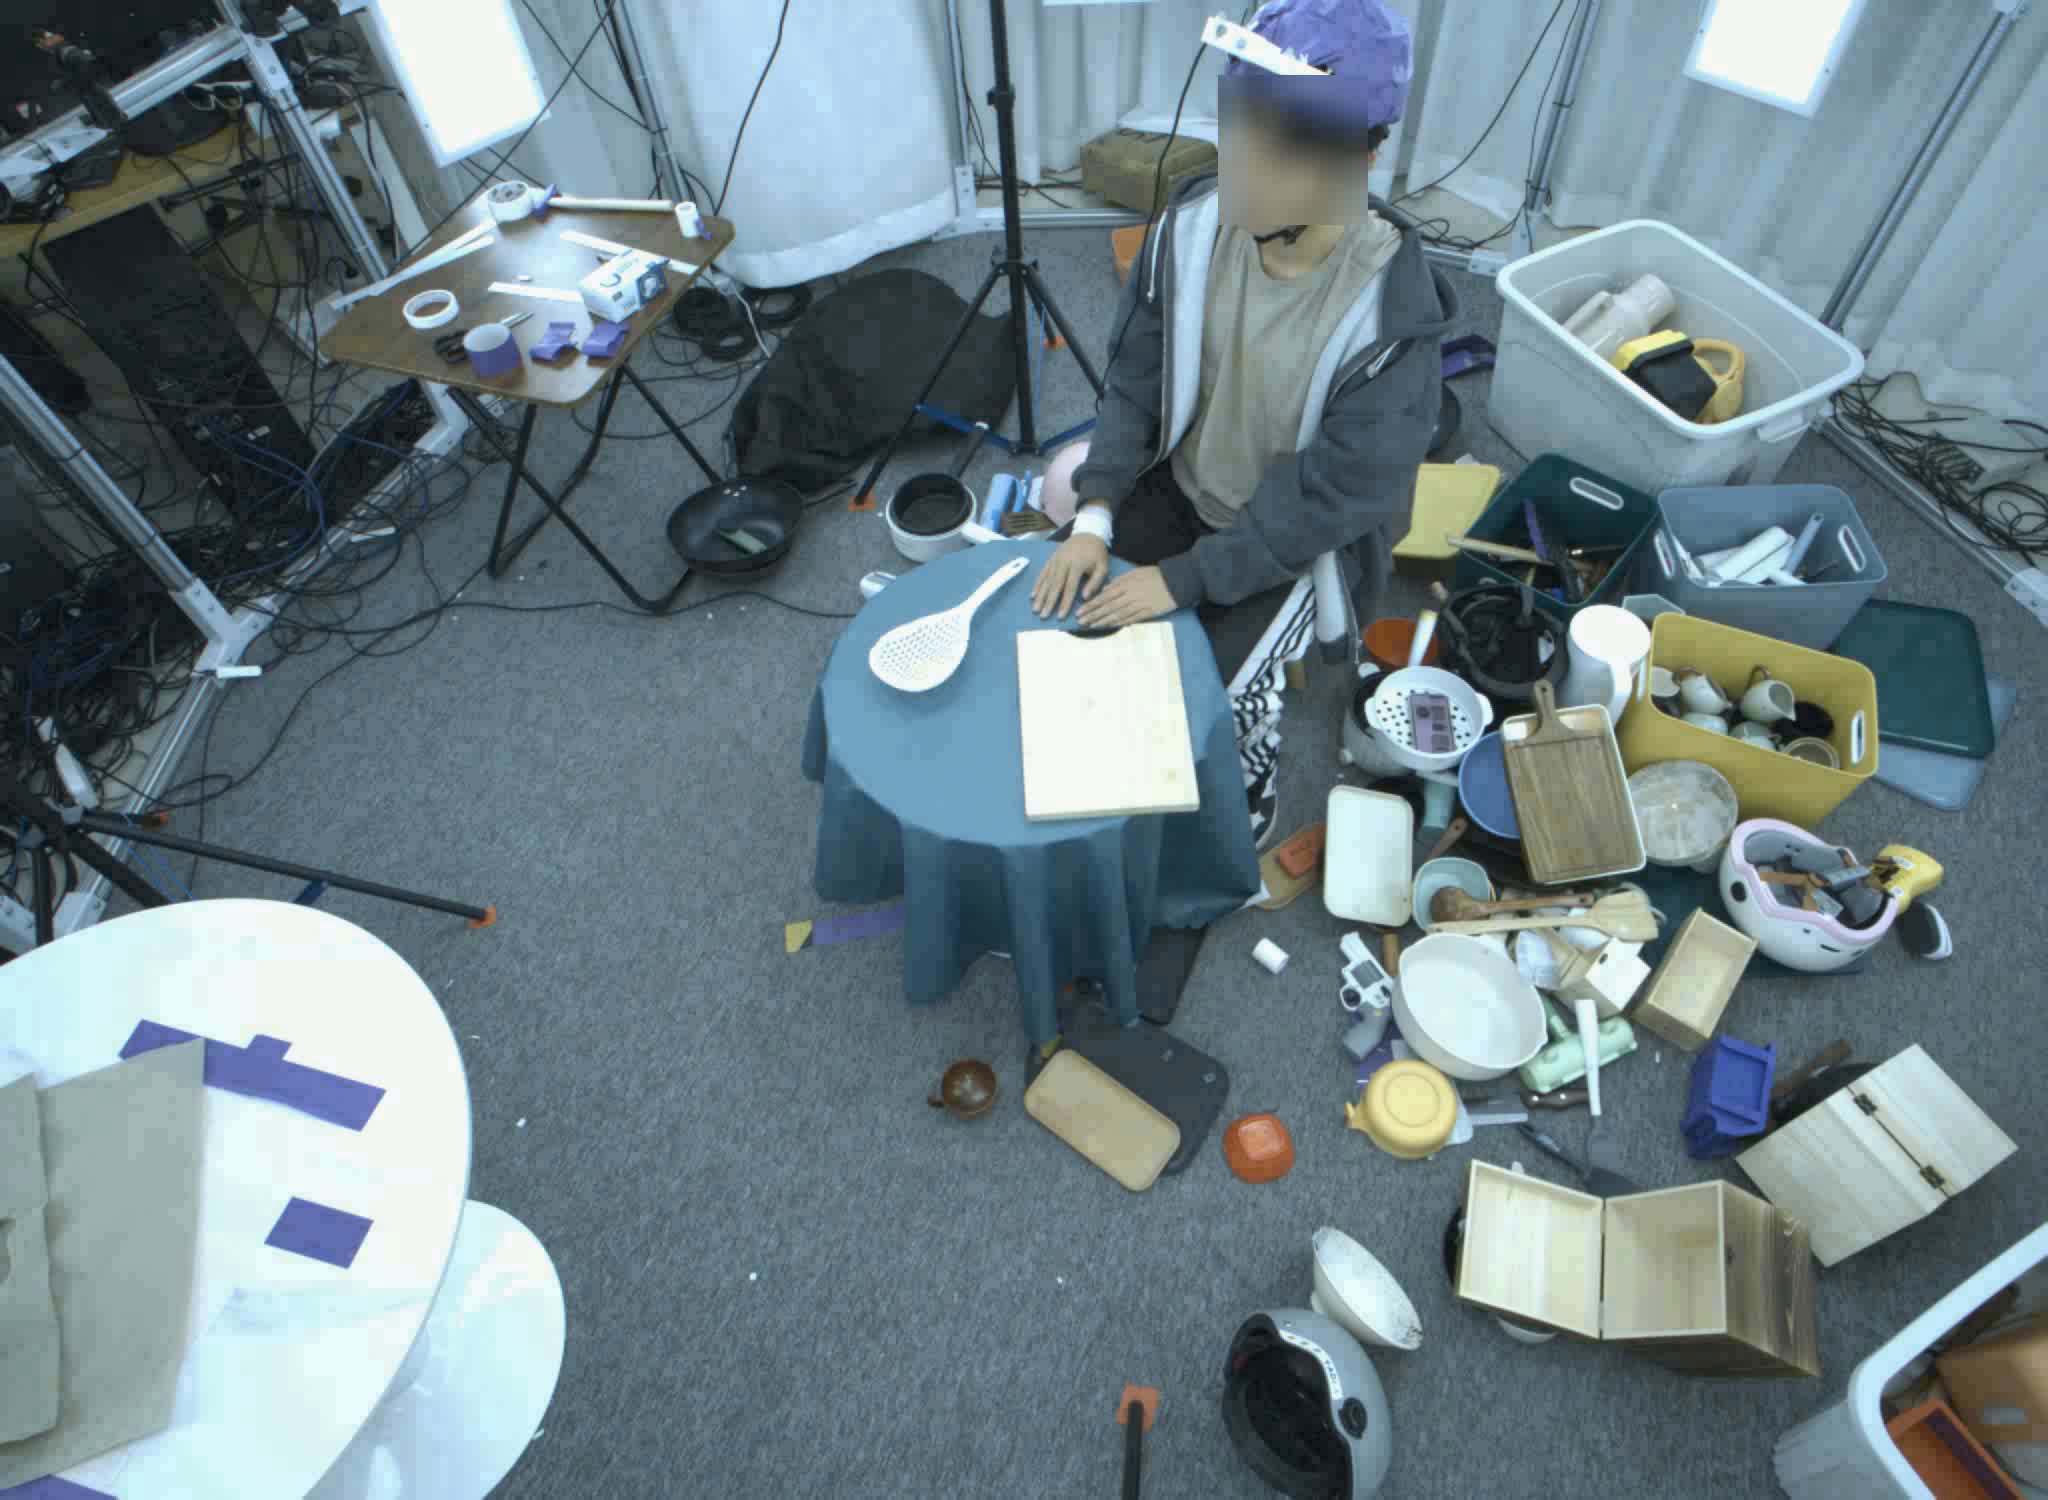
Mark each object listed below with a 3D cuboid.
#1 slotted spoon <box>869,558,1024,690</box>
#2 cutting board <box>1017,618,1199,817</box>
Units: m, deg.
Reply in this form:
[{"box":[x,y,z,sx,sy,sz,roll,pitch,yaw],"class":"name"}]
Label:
[{"box":[-0.099,-0.206,1.914,0.134,0.051,0.349,28,60,23],"class":"slotted spoon"},{"box":[0.117,-0.053,1.814,0.251,0.024,0.344,-4,55,-1],"class":"cutting board"}]
